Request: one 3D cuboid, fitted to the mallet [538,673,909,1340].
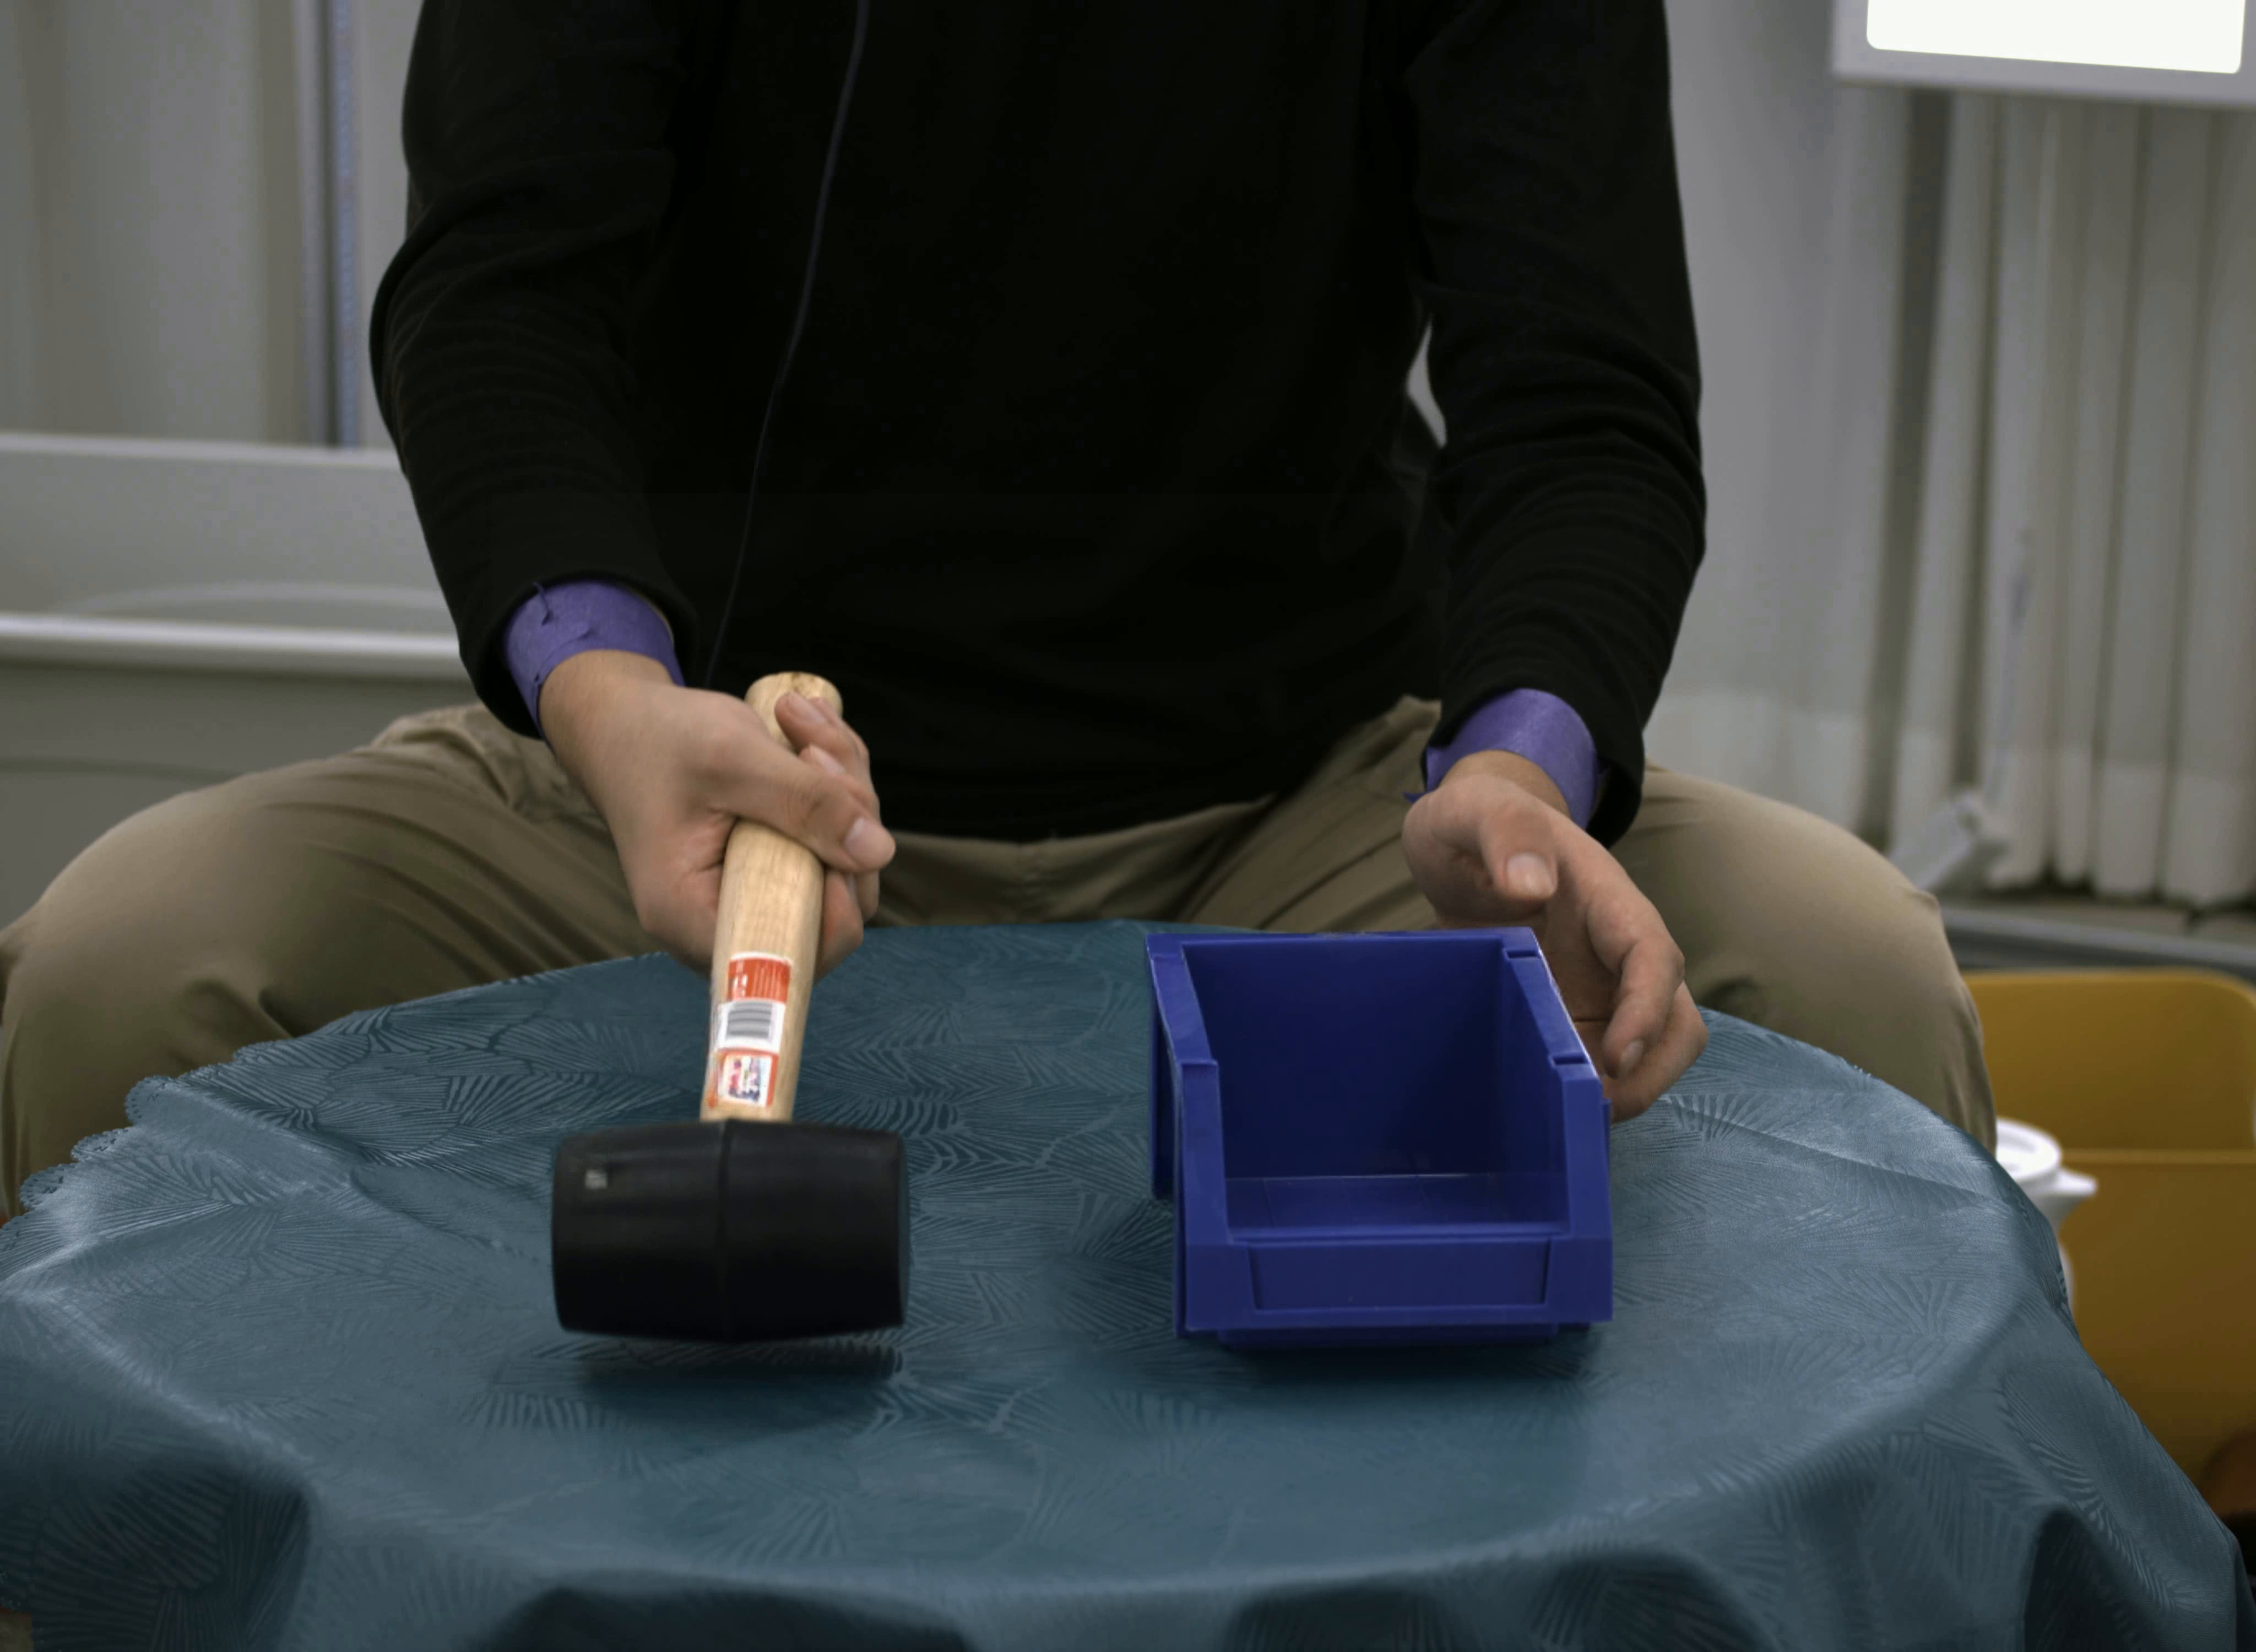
[{"bbox_3d":[-0.110,0.037,1.586,0.101,0.065,0.336,3,33,0],"label":"mallet"}]

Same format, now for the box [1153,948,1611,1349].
[{"bbox_3d":[0.073,0.096,1.532,0.124,0.082,0.178,0,12,-3],"label":"box"}]
